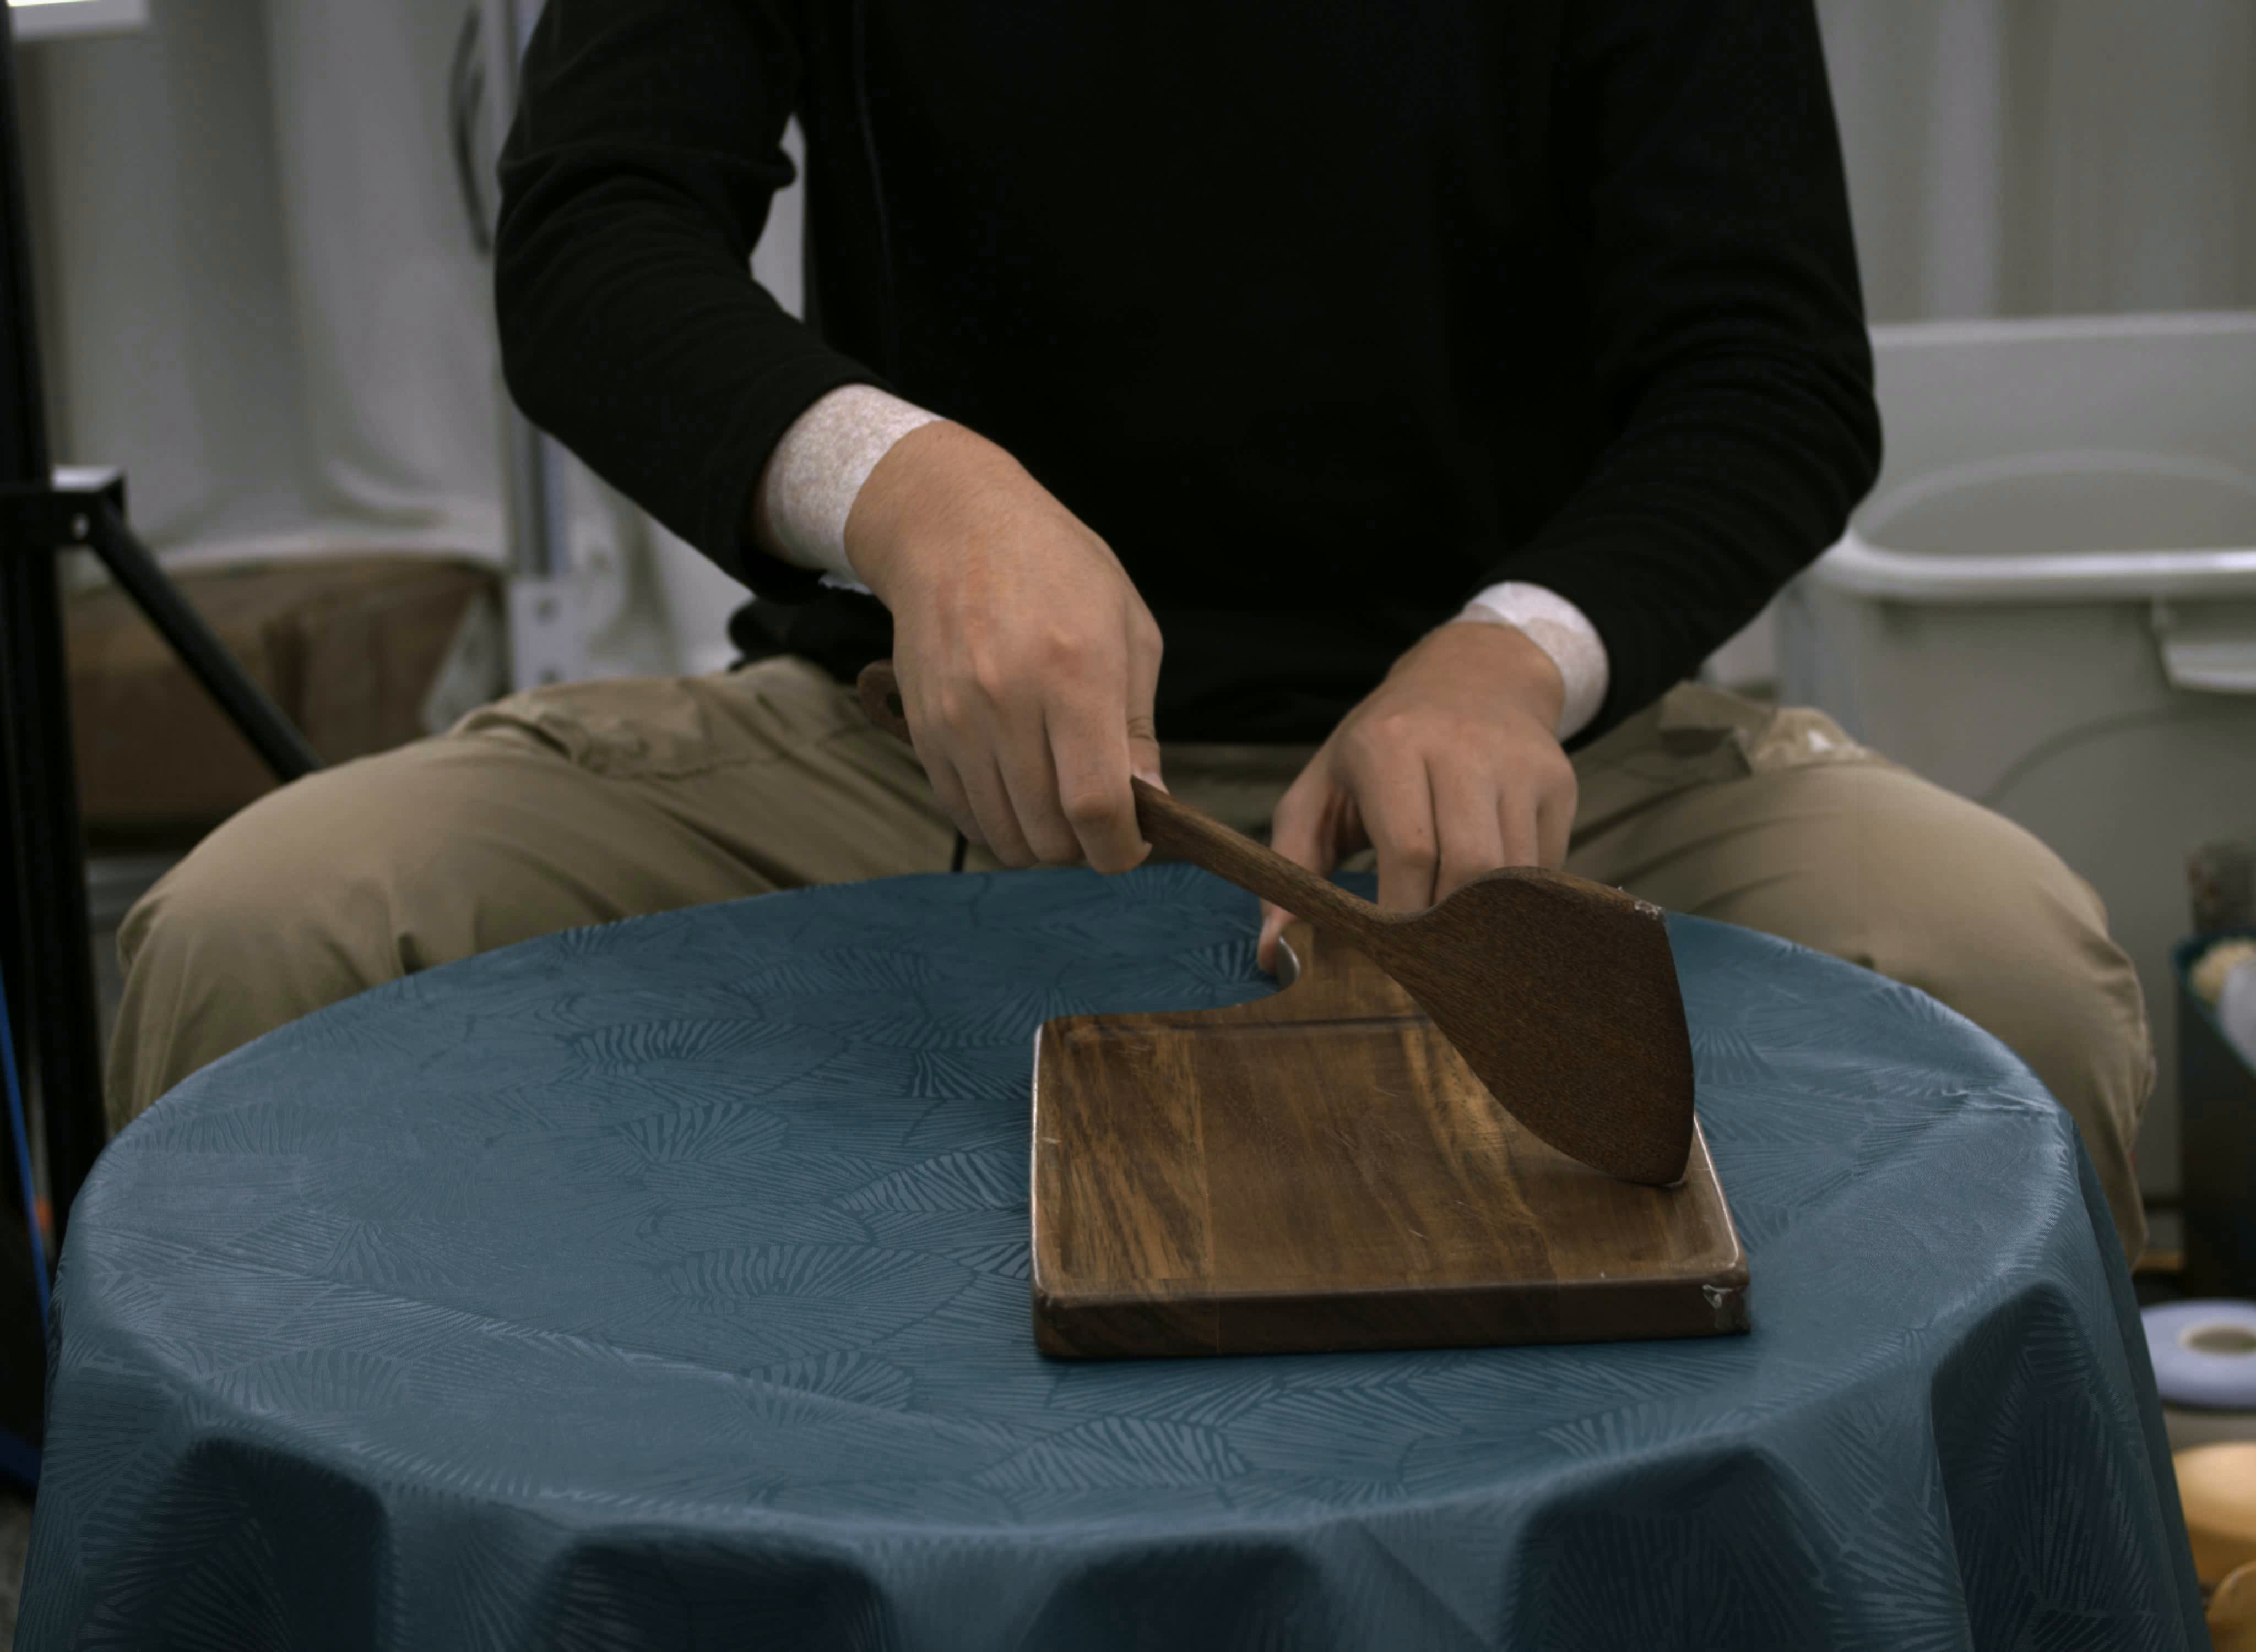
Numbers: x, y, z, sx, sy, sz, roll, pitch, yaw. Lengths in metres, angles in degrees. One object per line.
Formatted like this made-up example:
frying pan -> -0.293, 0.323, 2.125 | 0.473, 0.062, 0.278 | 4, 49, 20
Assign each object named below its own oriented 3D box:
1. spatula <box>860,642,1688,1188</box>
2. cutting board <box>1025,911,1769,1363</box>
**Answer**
spatula -> 0.035, 0.008, 1.604 | 0.015, 0.095, 0.395 | -23, 31, -30
cutting board -> 0.070, 0.085, 1.588 | 0.200, 0.023, 0.354 | -2, 16, 0
